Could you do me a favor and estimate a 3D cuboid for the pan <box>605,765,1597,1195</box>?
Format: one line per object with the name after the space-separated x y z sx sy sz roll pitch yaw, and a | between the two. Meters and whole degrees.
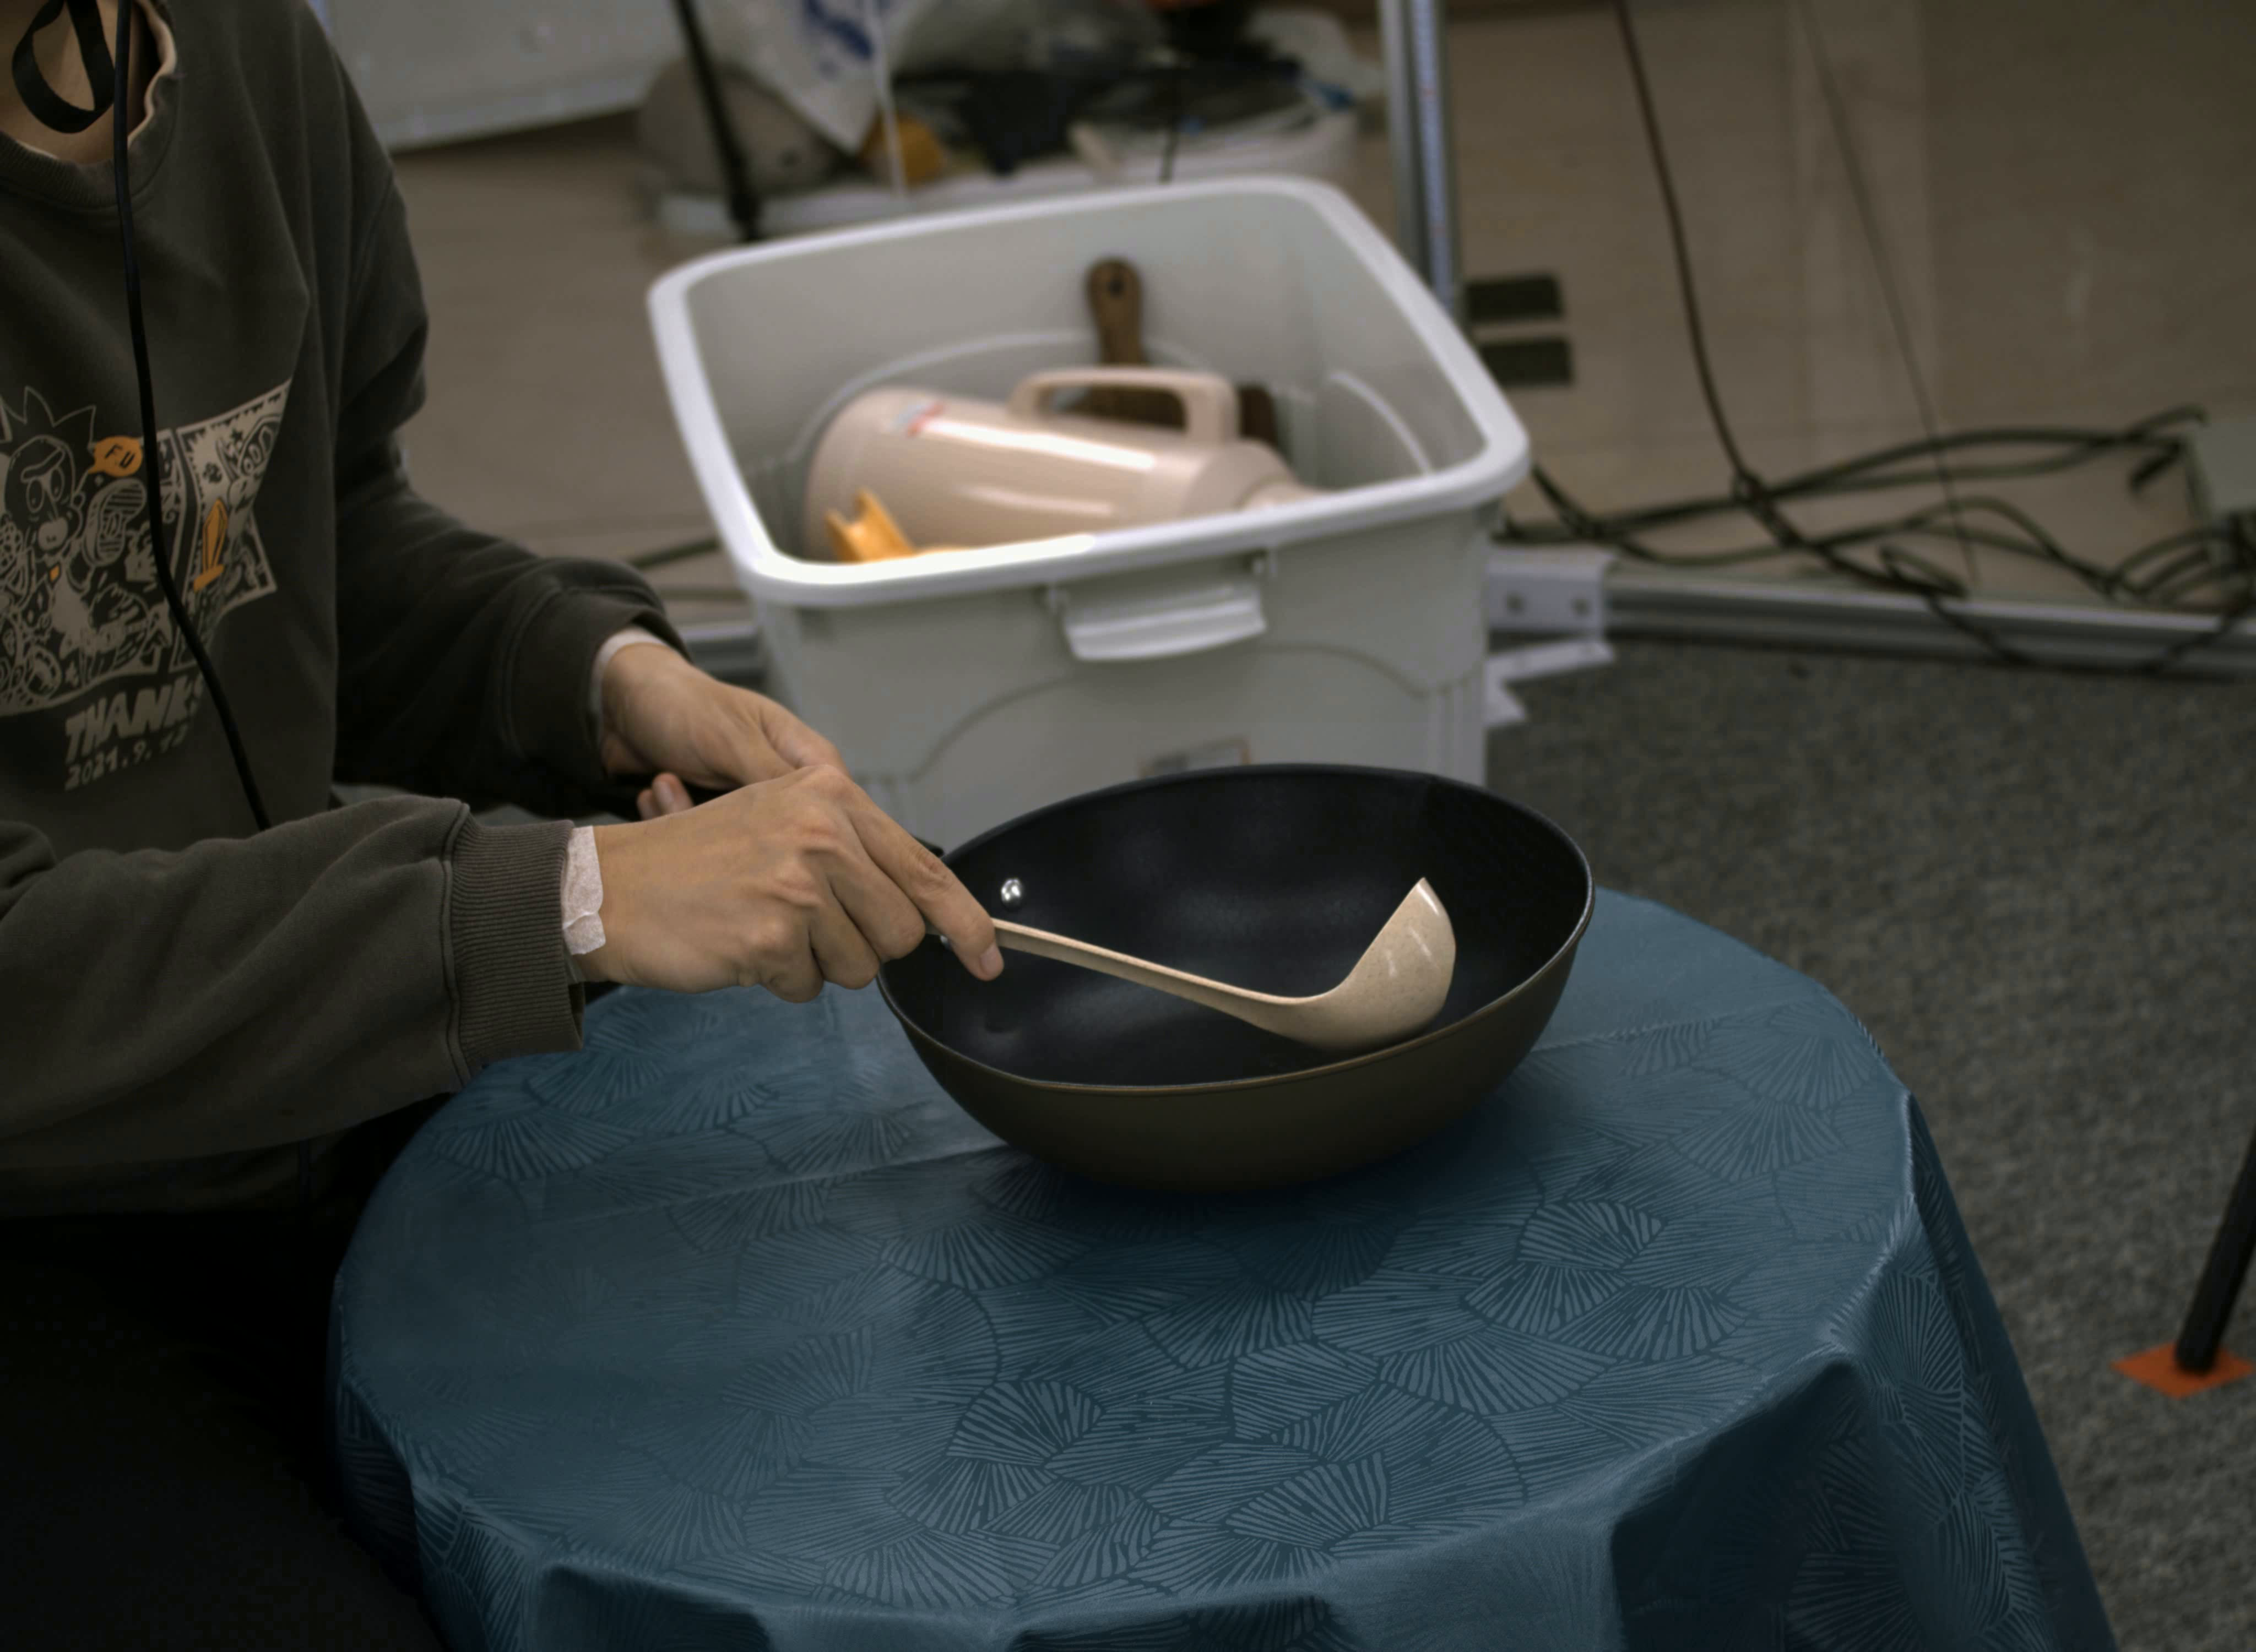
-0.029 0.054 2.236 0.461 0.088 0.285 11 31 35 | pan

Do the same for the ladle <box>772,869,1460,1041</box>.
-0.002 0.023 2.065 0.255 0.073 0.072 17 64 -13 | ladle
